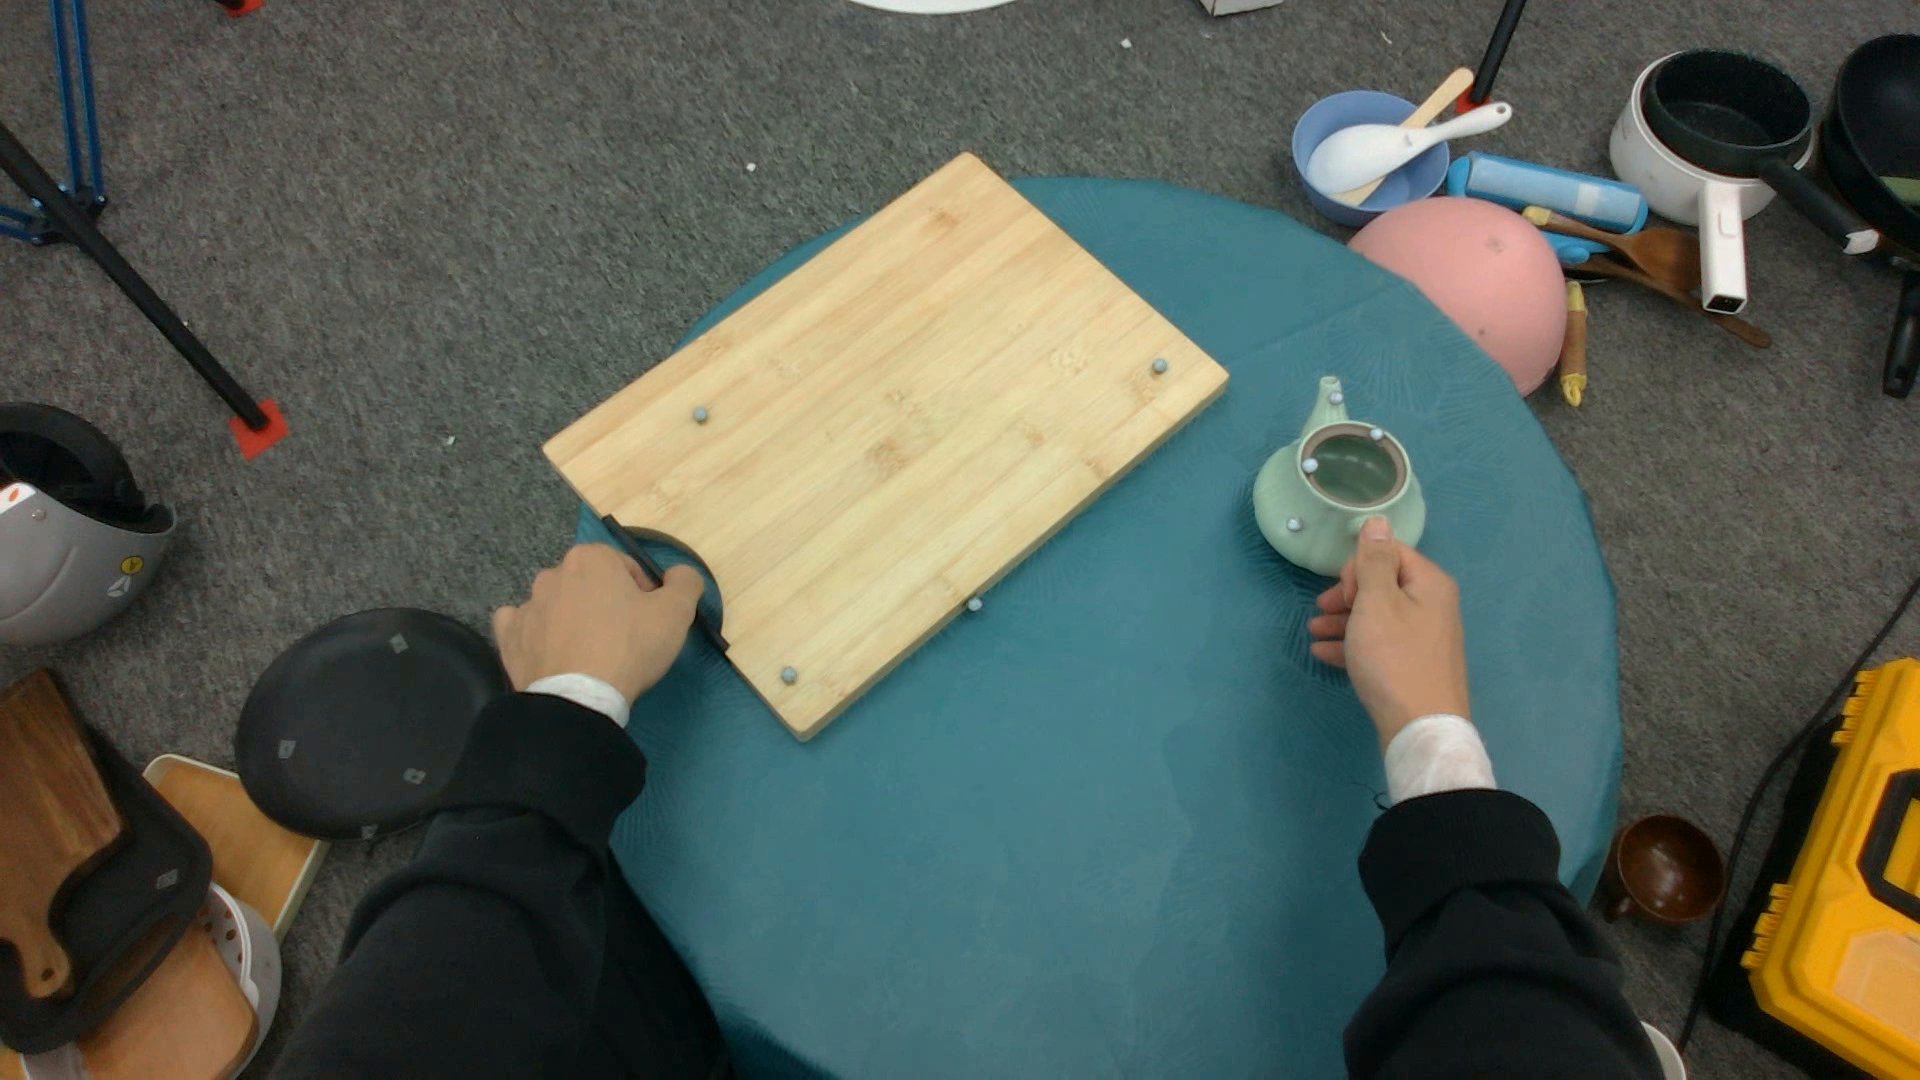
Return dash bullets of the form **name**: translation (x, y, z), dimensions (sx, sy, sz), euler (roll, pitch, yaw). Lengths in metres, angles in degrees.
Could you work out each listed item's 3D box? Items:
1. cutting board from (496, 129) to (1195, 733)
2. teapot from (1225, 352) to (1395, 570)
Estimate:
- **cutting board**: translation (-0.061, -0.083, 0.825), dimensions (0.350, 0.023, 0.251), euler (-41, 72, -19)
- **teapot**: translation (0.202, -0.038, 0.781), dimensions (0.096, 0.061, 0.137), euler (-6, 56, -6)
